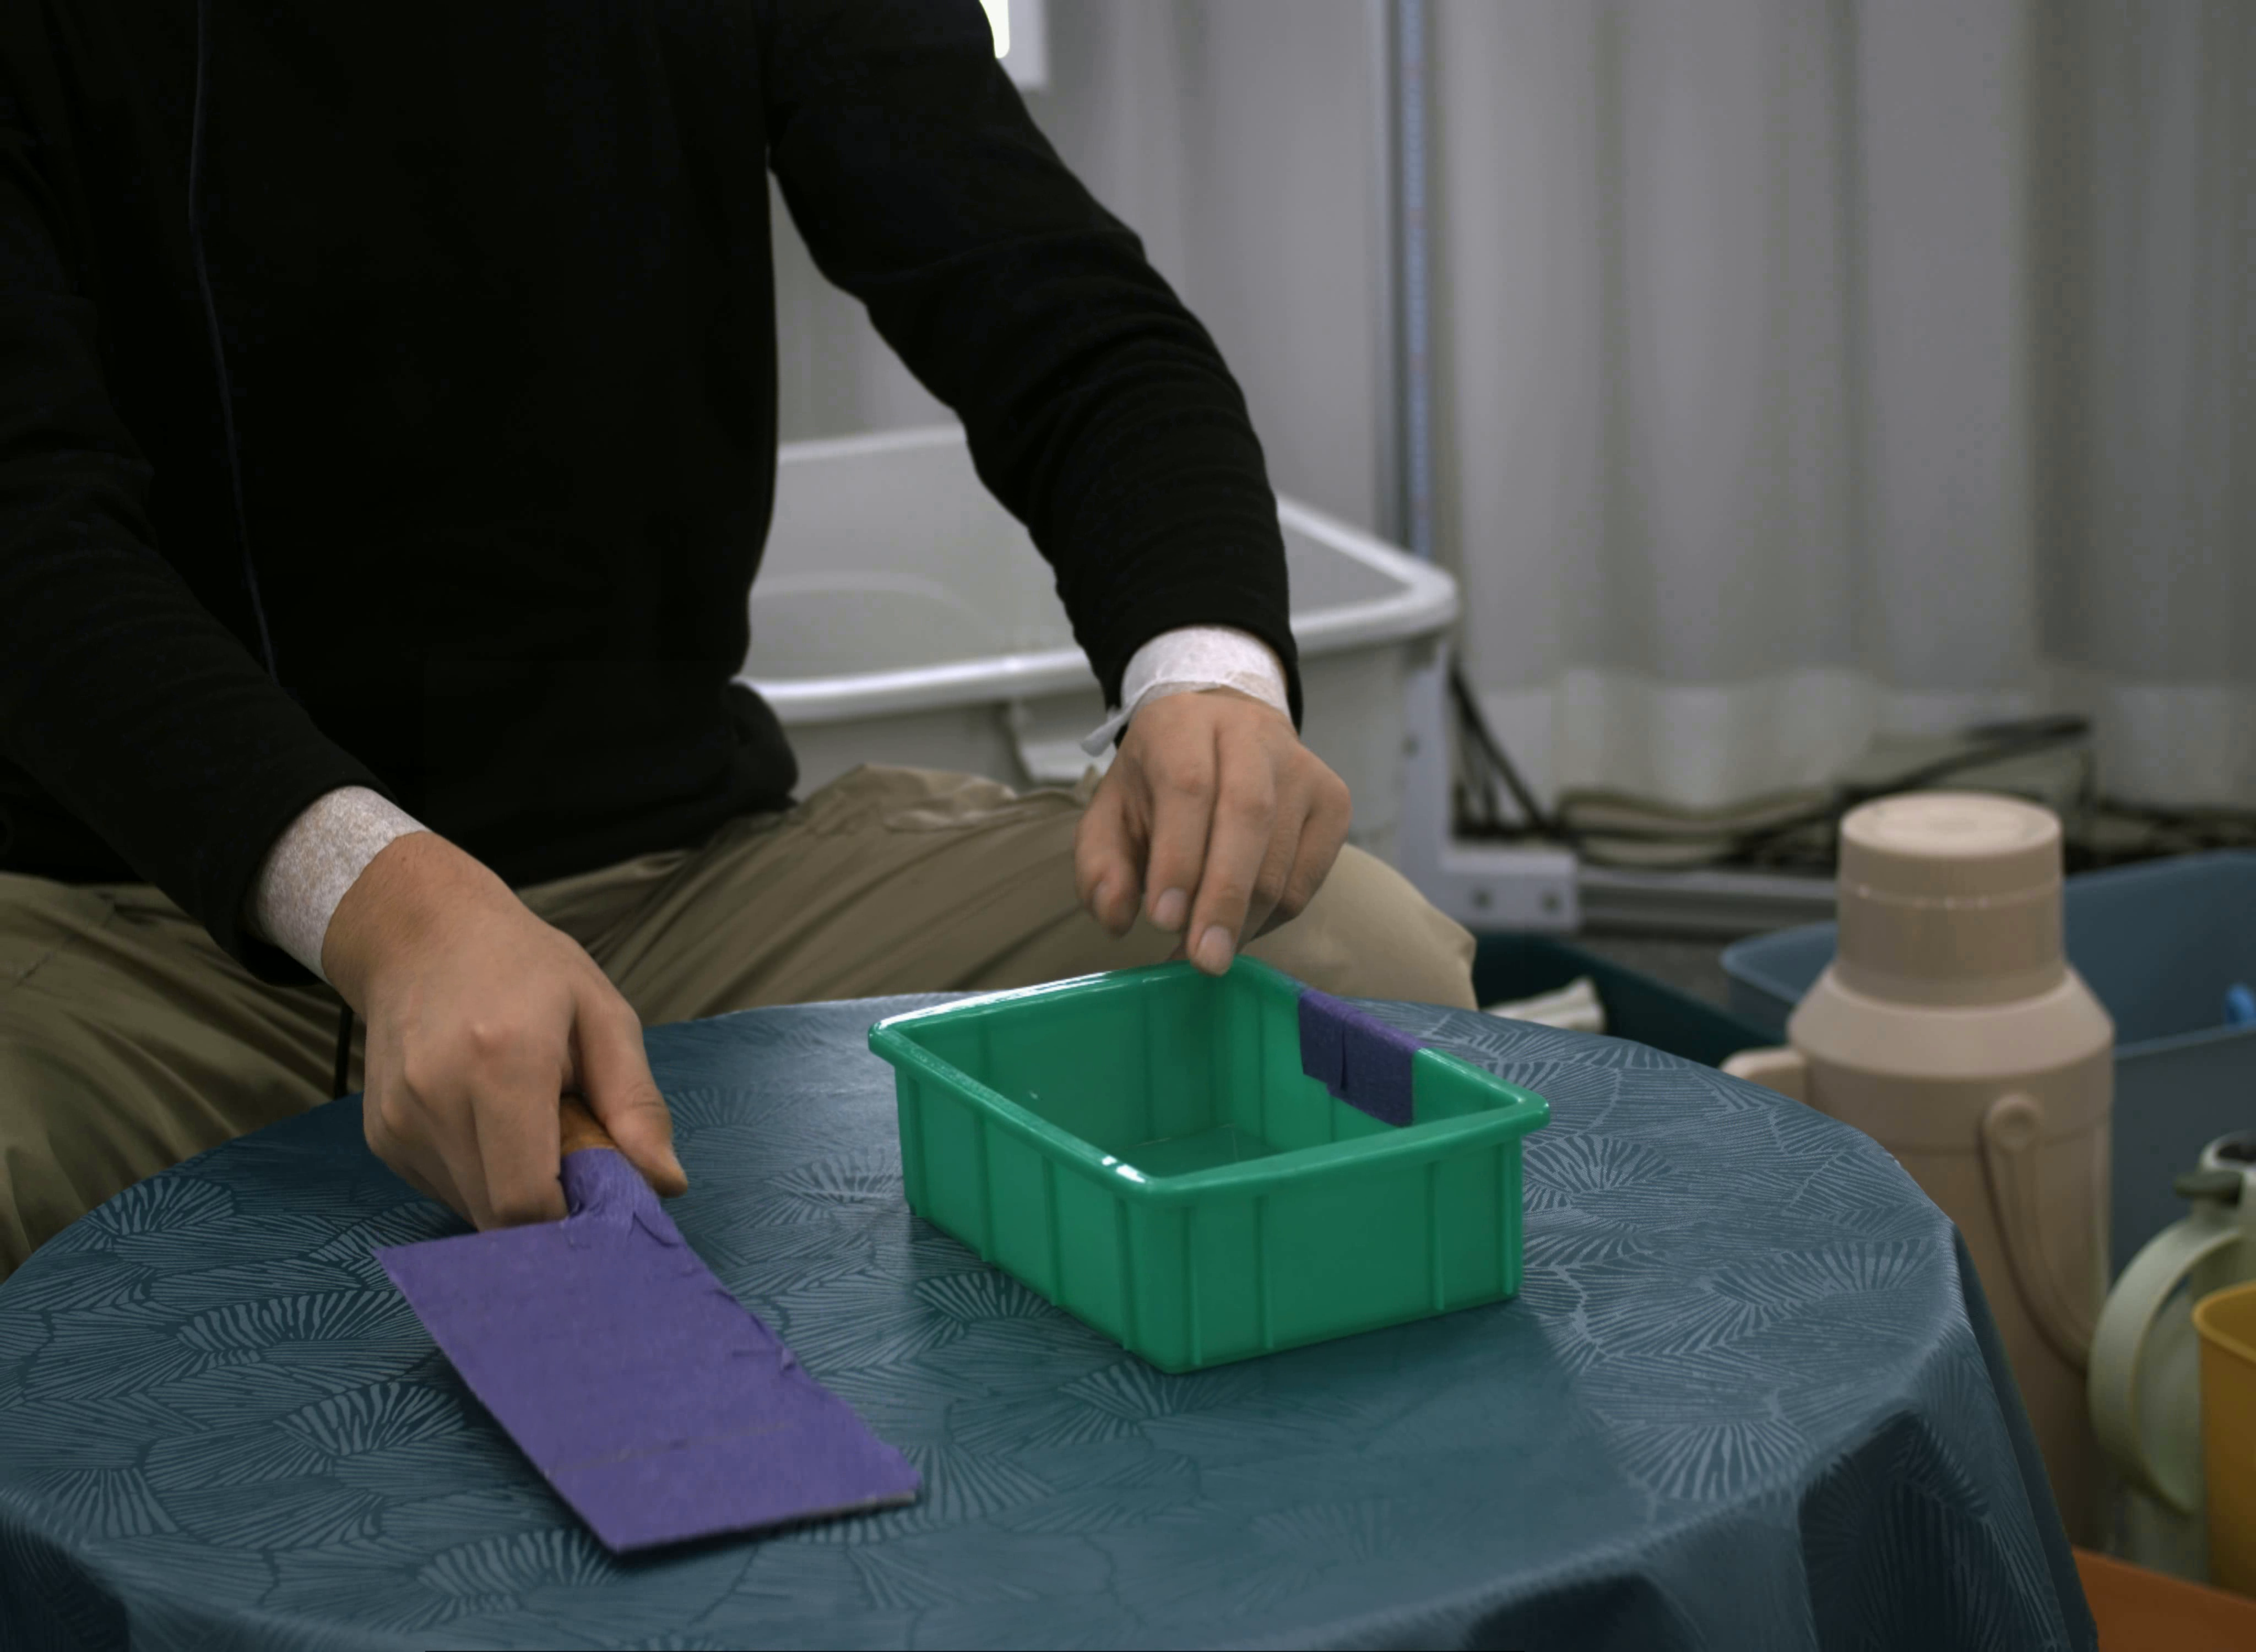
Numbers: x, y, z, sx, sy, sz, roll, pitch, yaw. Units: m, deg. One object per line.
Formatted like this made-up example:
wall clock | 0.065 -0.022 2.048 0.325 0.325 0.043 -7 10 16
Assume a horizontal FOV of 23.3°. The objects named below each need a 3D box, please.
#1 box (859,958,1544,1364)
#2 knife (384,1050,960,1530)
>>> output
box | 0.020 0.099 1.648 0.138 0.065 0.212 -9 14 -27
knife | -0.158 0.130 1.579 0.103 0.032 0.318 -6 18 -25
